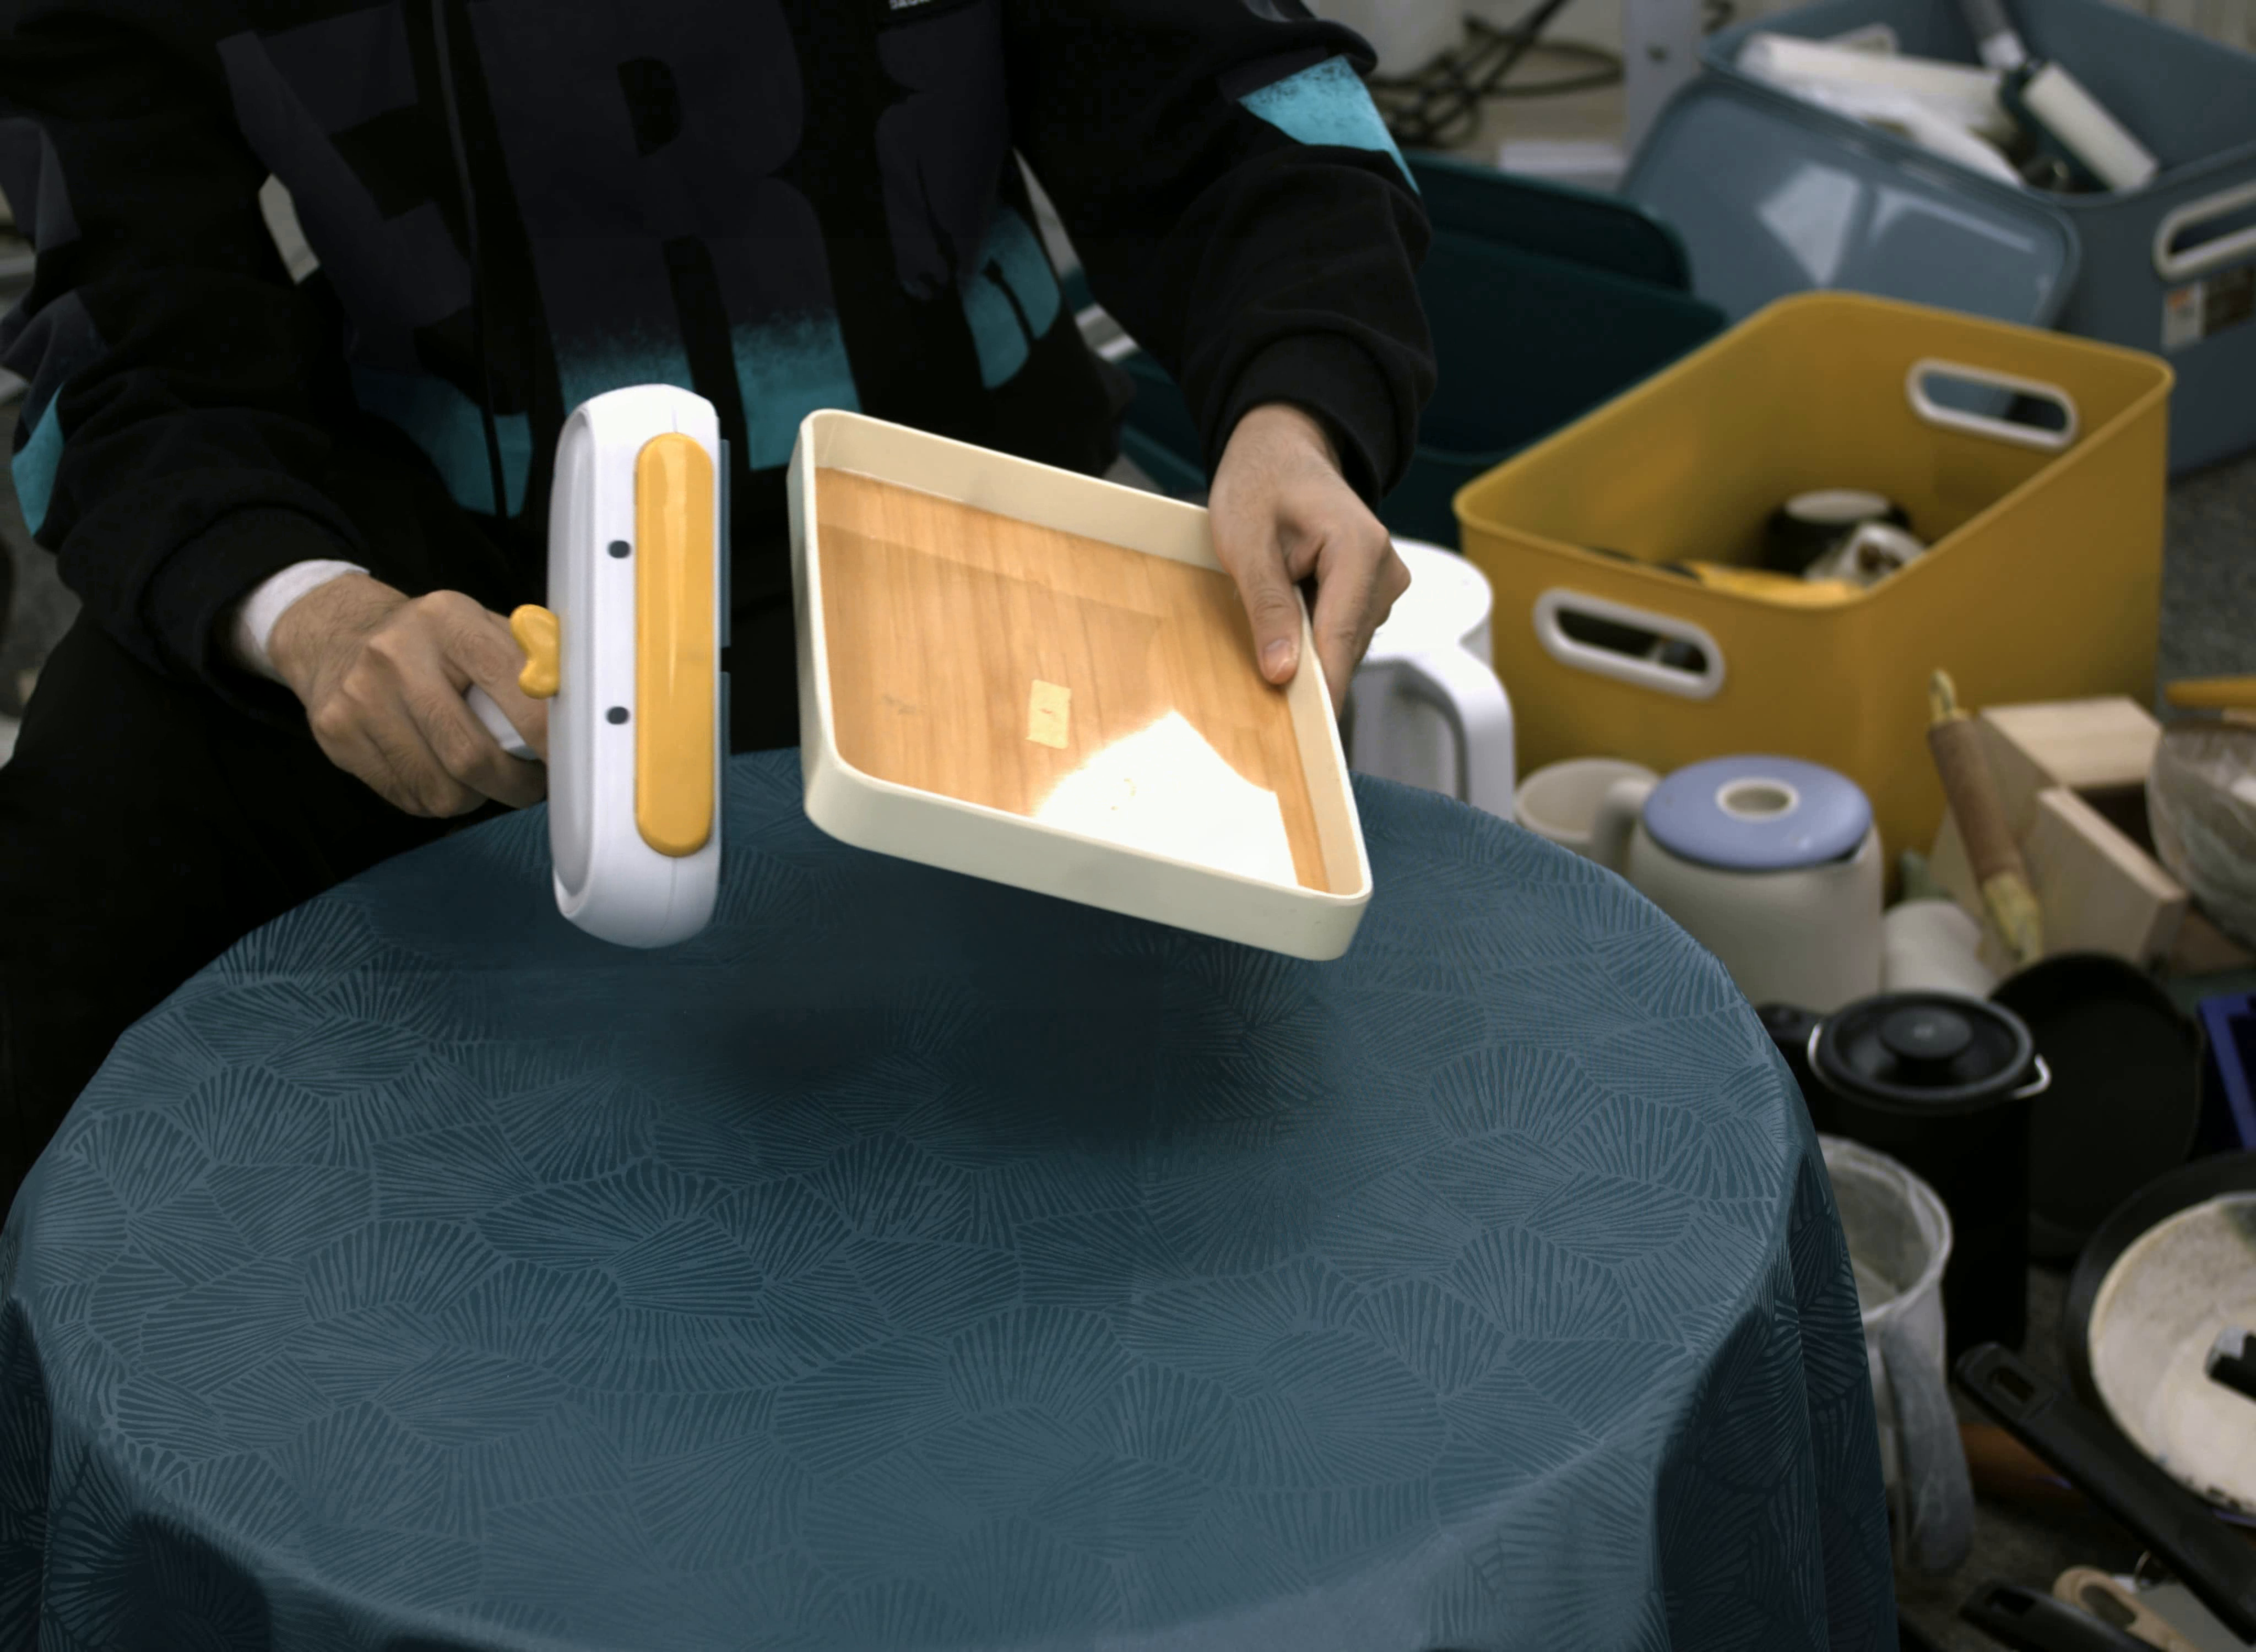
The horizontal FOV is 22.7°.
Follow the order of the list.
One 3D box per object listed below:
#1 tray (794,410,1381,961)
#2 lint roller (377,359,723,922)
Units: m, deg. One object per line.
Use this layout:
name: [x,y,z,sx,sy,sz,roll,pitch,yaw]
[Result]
tray: [-0.020,-0.053,1.951,0.191,0.027,0.304,15,24,-12]
lint roller: [-0.201,-0.047,1.949,0.074,0.195,0.189,2,-17,-28]
